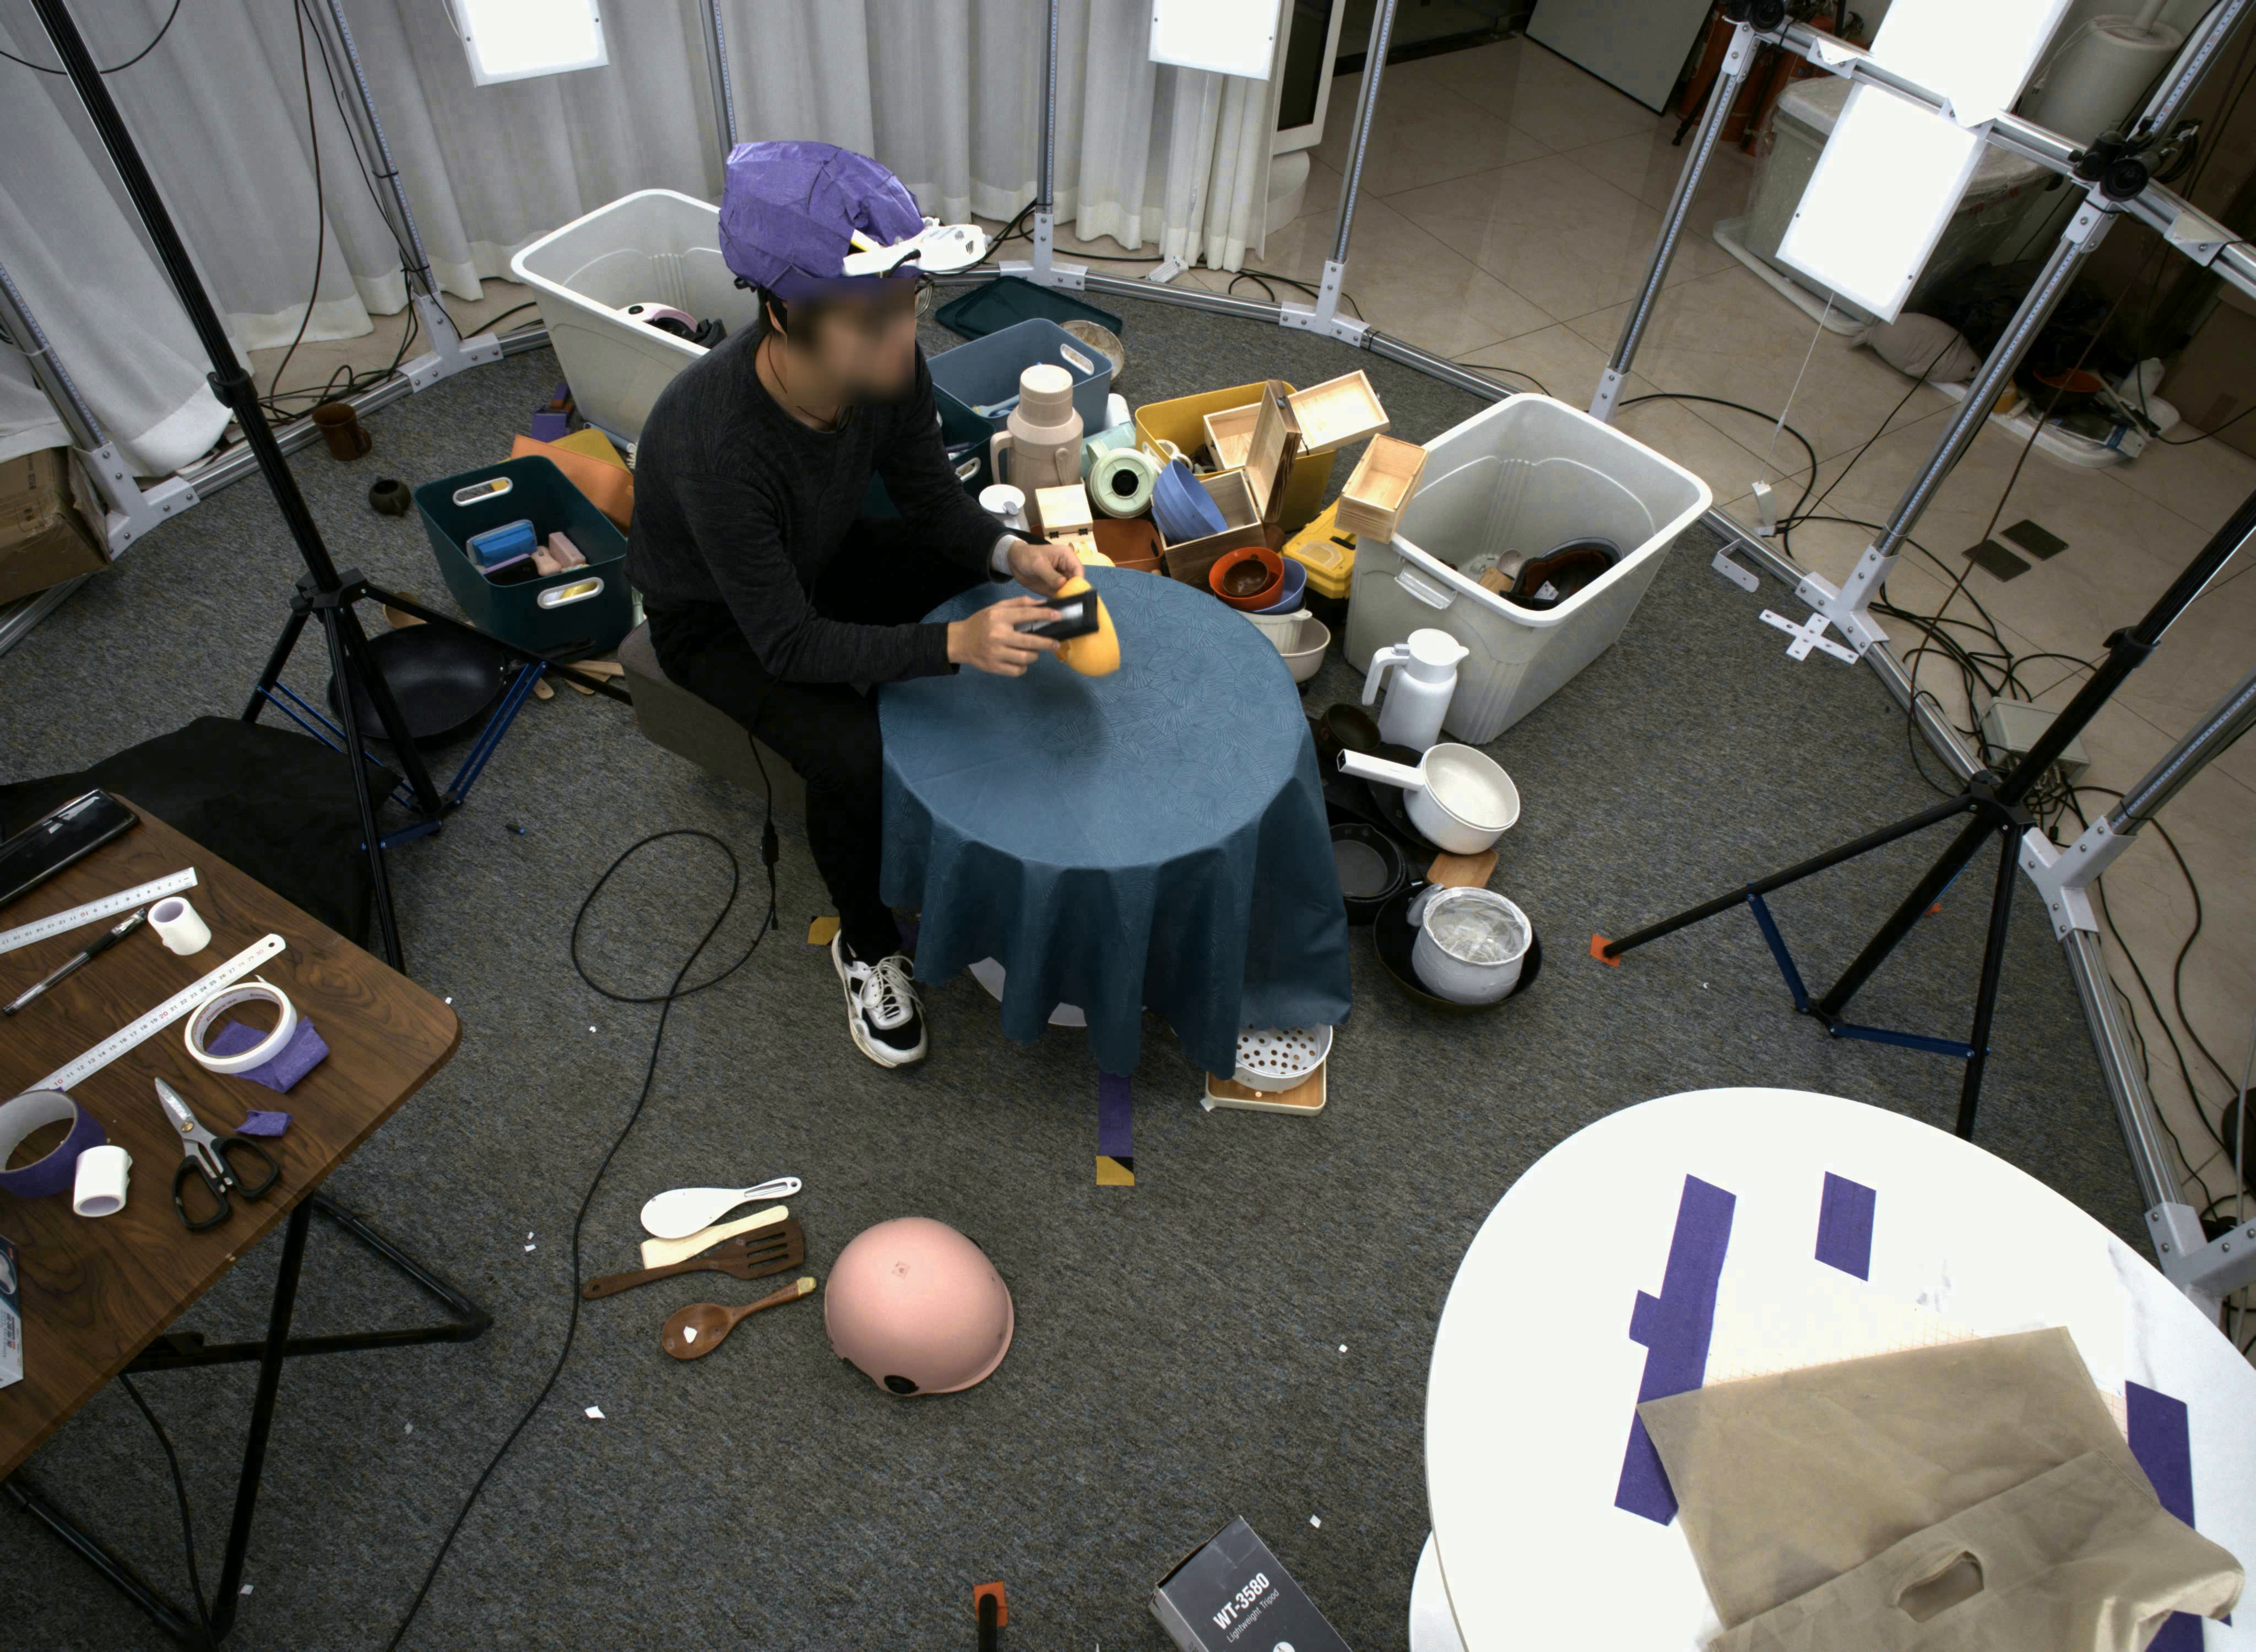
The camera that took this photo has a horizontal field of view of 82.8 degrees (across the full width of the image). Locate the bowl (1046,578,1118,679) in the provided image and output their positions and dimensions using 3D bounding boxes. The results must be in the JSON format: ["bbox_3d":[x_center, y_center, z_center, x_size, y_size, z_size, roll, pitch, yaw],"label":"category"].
[{"bbox_3d":[-0.075,-0.260,1.755,0.060,0.142,0.148,-25,56,-18],"label":"bowl"}]

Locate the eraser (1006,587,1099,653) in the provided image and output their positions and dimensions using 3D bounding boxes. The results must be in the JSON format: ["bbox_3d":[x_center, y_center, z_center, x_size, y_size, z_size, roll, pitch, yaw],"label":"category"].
[{"bbox_3d":[-0.100,-0.273,1.696,0.125,0.030,0.054,-15,67,19],"label":"eraser"}]
